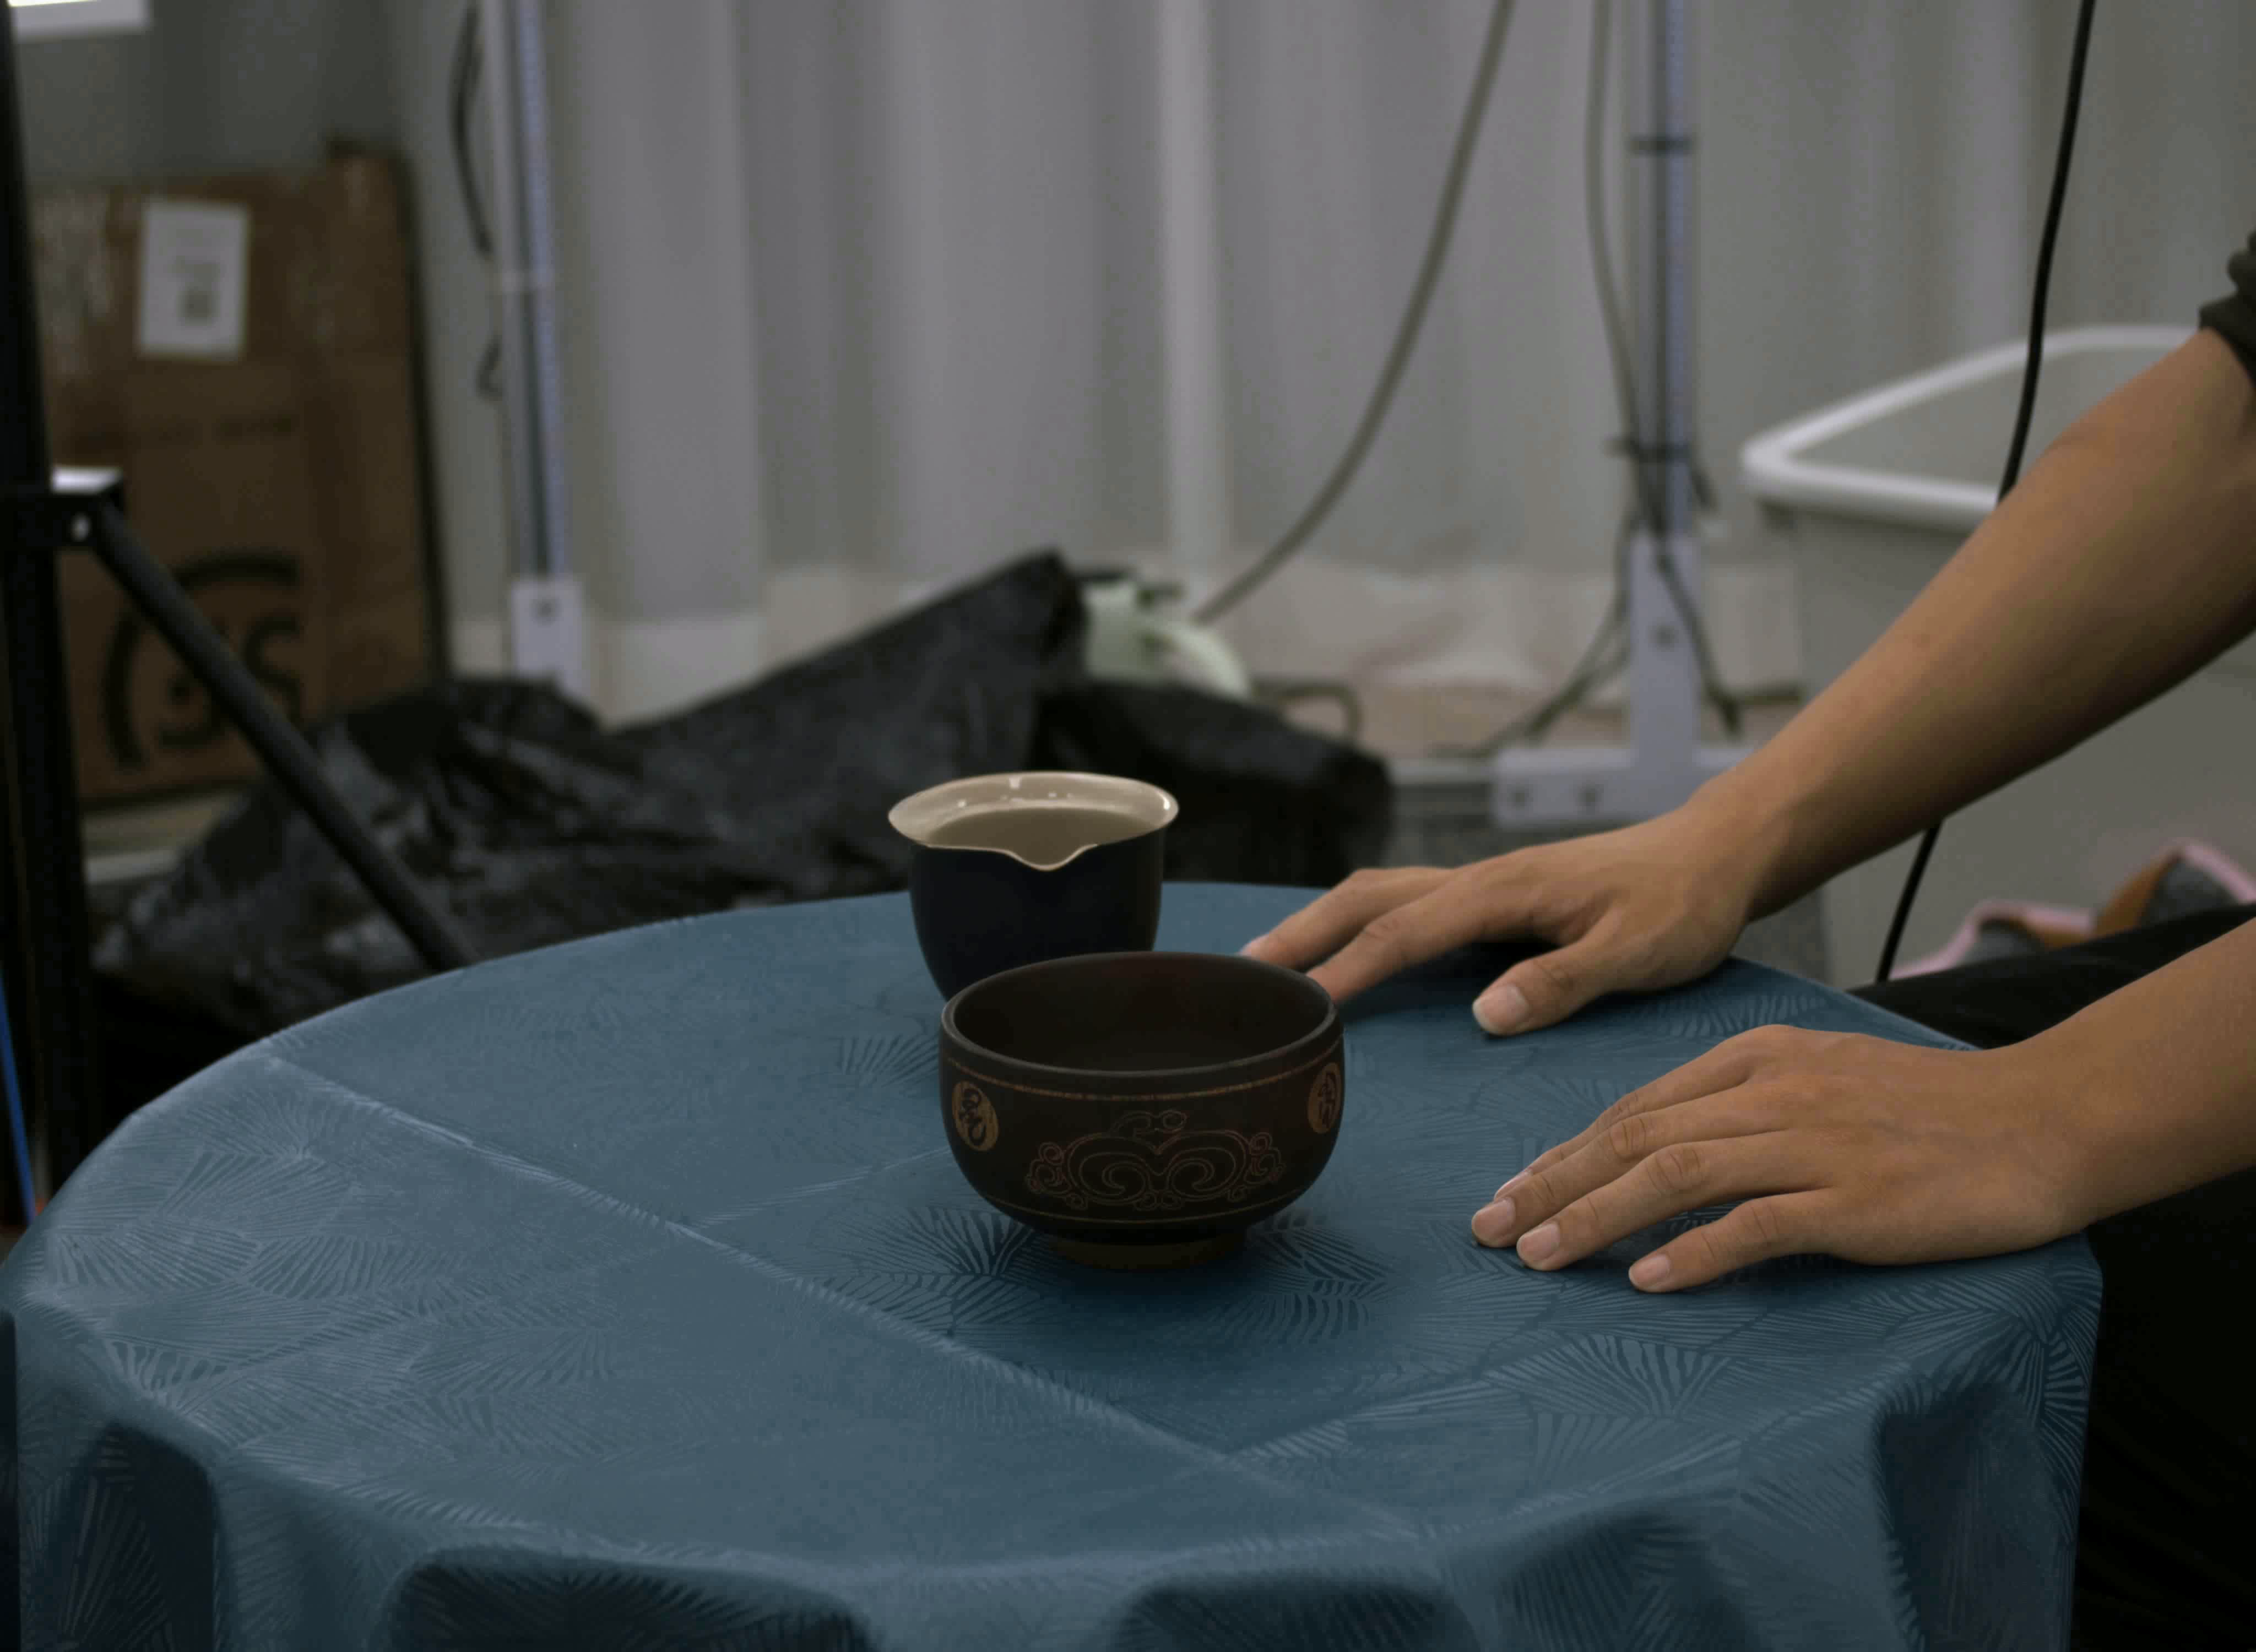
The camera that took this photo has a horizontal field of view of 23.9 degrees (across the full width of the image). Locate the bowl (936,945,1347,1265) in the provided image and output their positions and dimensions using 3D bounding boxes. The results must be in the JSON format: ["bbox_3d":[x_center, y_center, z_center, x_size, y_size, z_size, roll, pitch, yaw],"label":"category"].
[{"bbox_3d":[0.005,0.083,1.515,0.117,0.070,0.118,-4,15,0],"label":"bowl"}]

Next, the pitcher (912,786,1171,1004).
[{"bbox_3d":[-0.028,0.028,1.708,0.083,0.071,0.096,0,15,2],"label":"pitcher"}]
